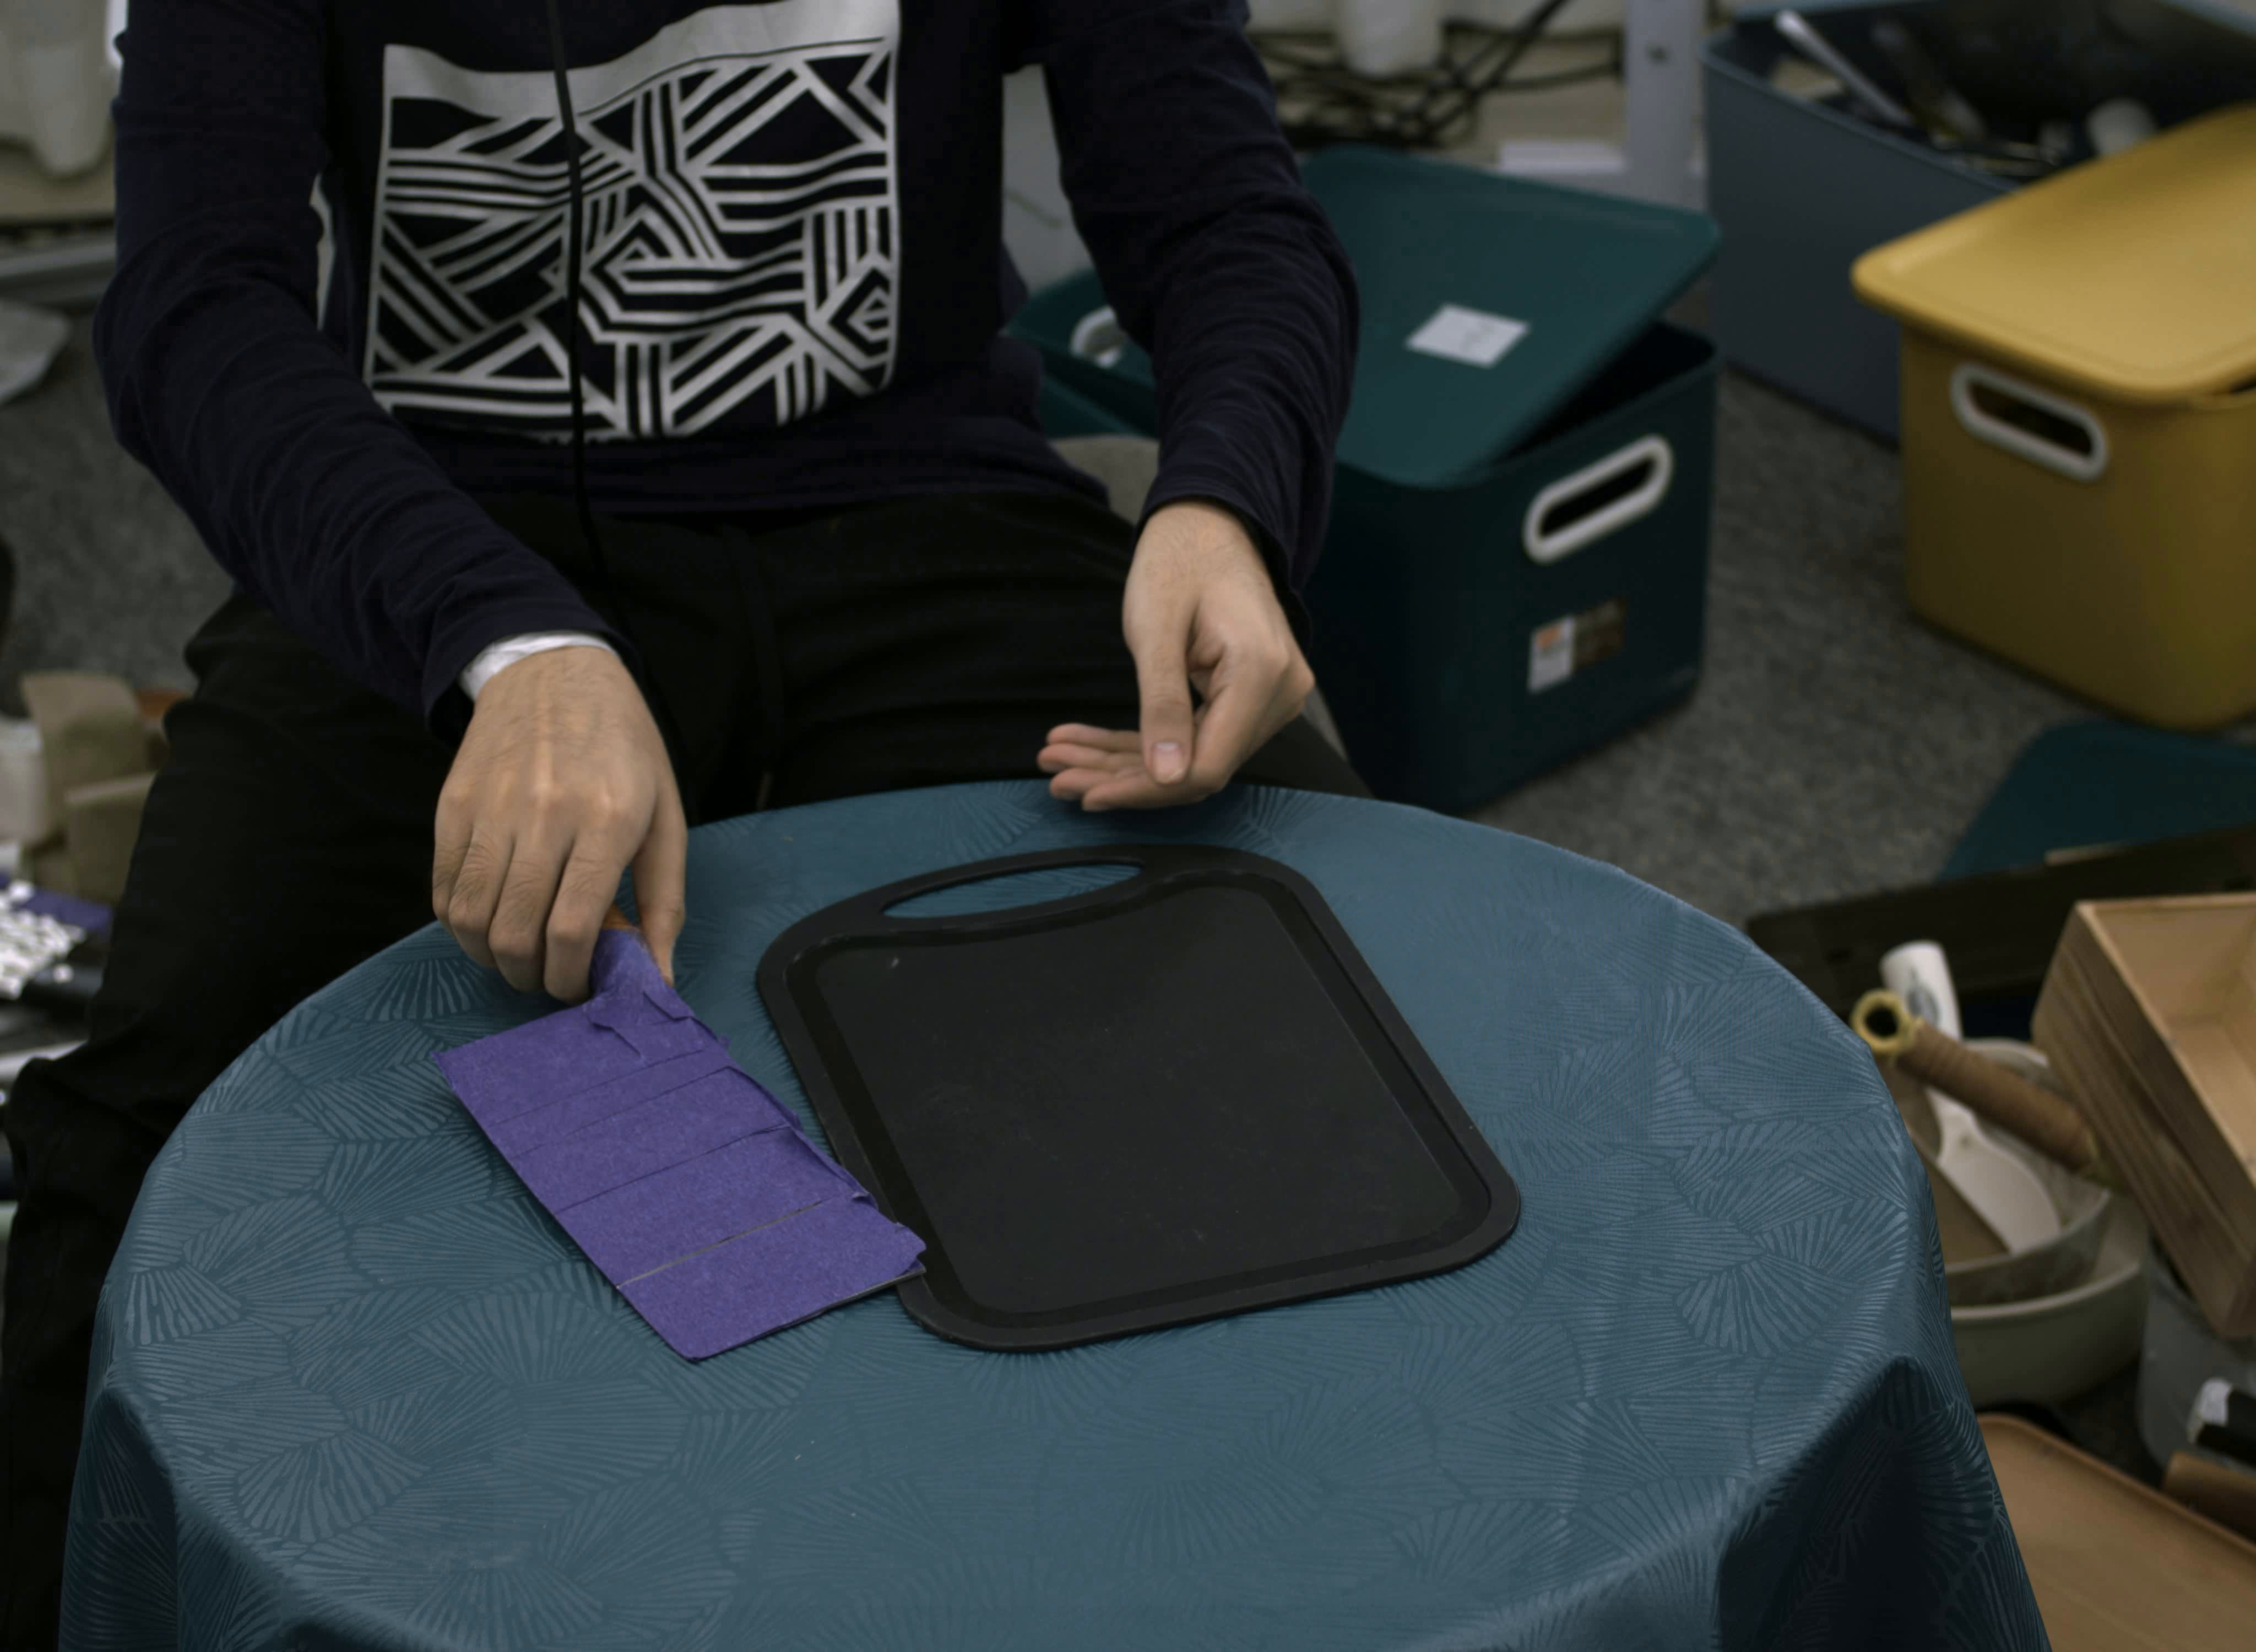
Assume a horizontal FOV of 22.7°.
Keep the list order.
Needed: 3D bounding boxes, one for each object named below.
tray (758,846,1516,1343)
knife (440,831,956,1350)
[{"bbox_3d":[-0.006,0.083,1.929,0.211,0.009,0.329,-9,28,-13],"label":"tray"},{"bbox_3d":[-0.176,0.086,1.911,0.104,0.032,0.317,-18,32,-24],"label":"knife"}]
